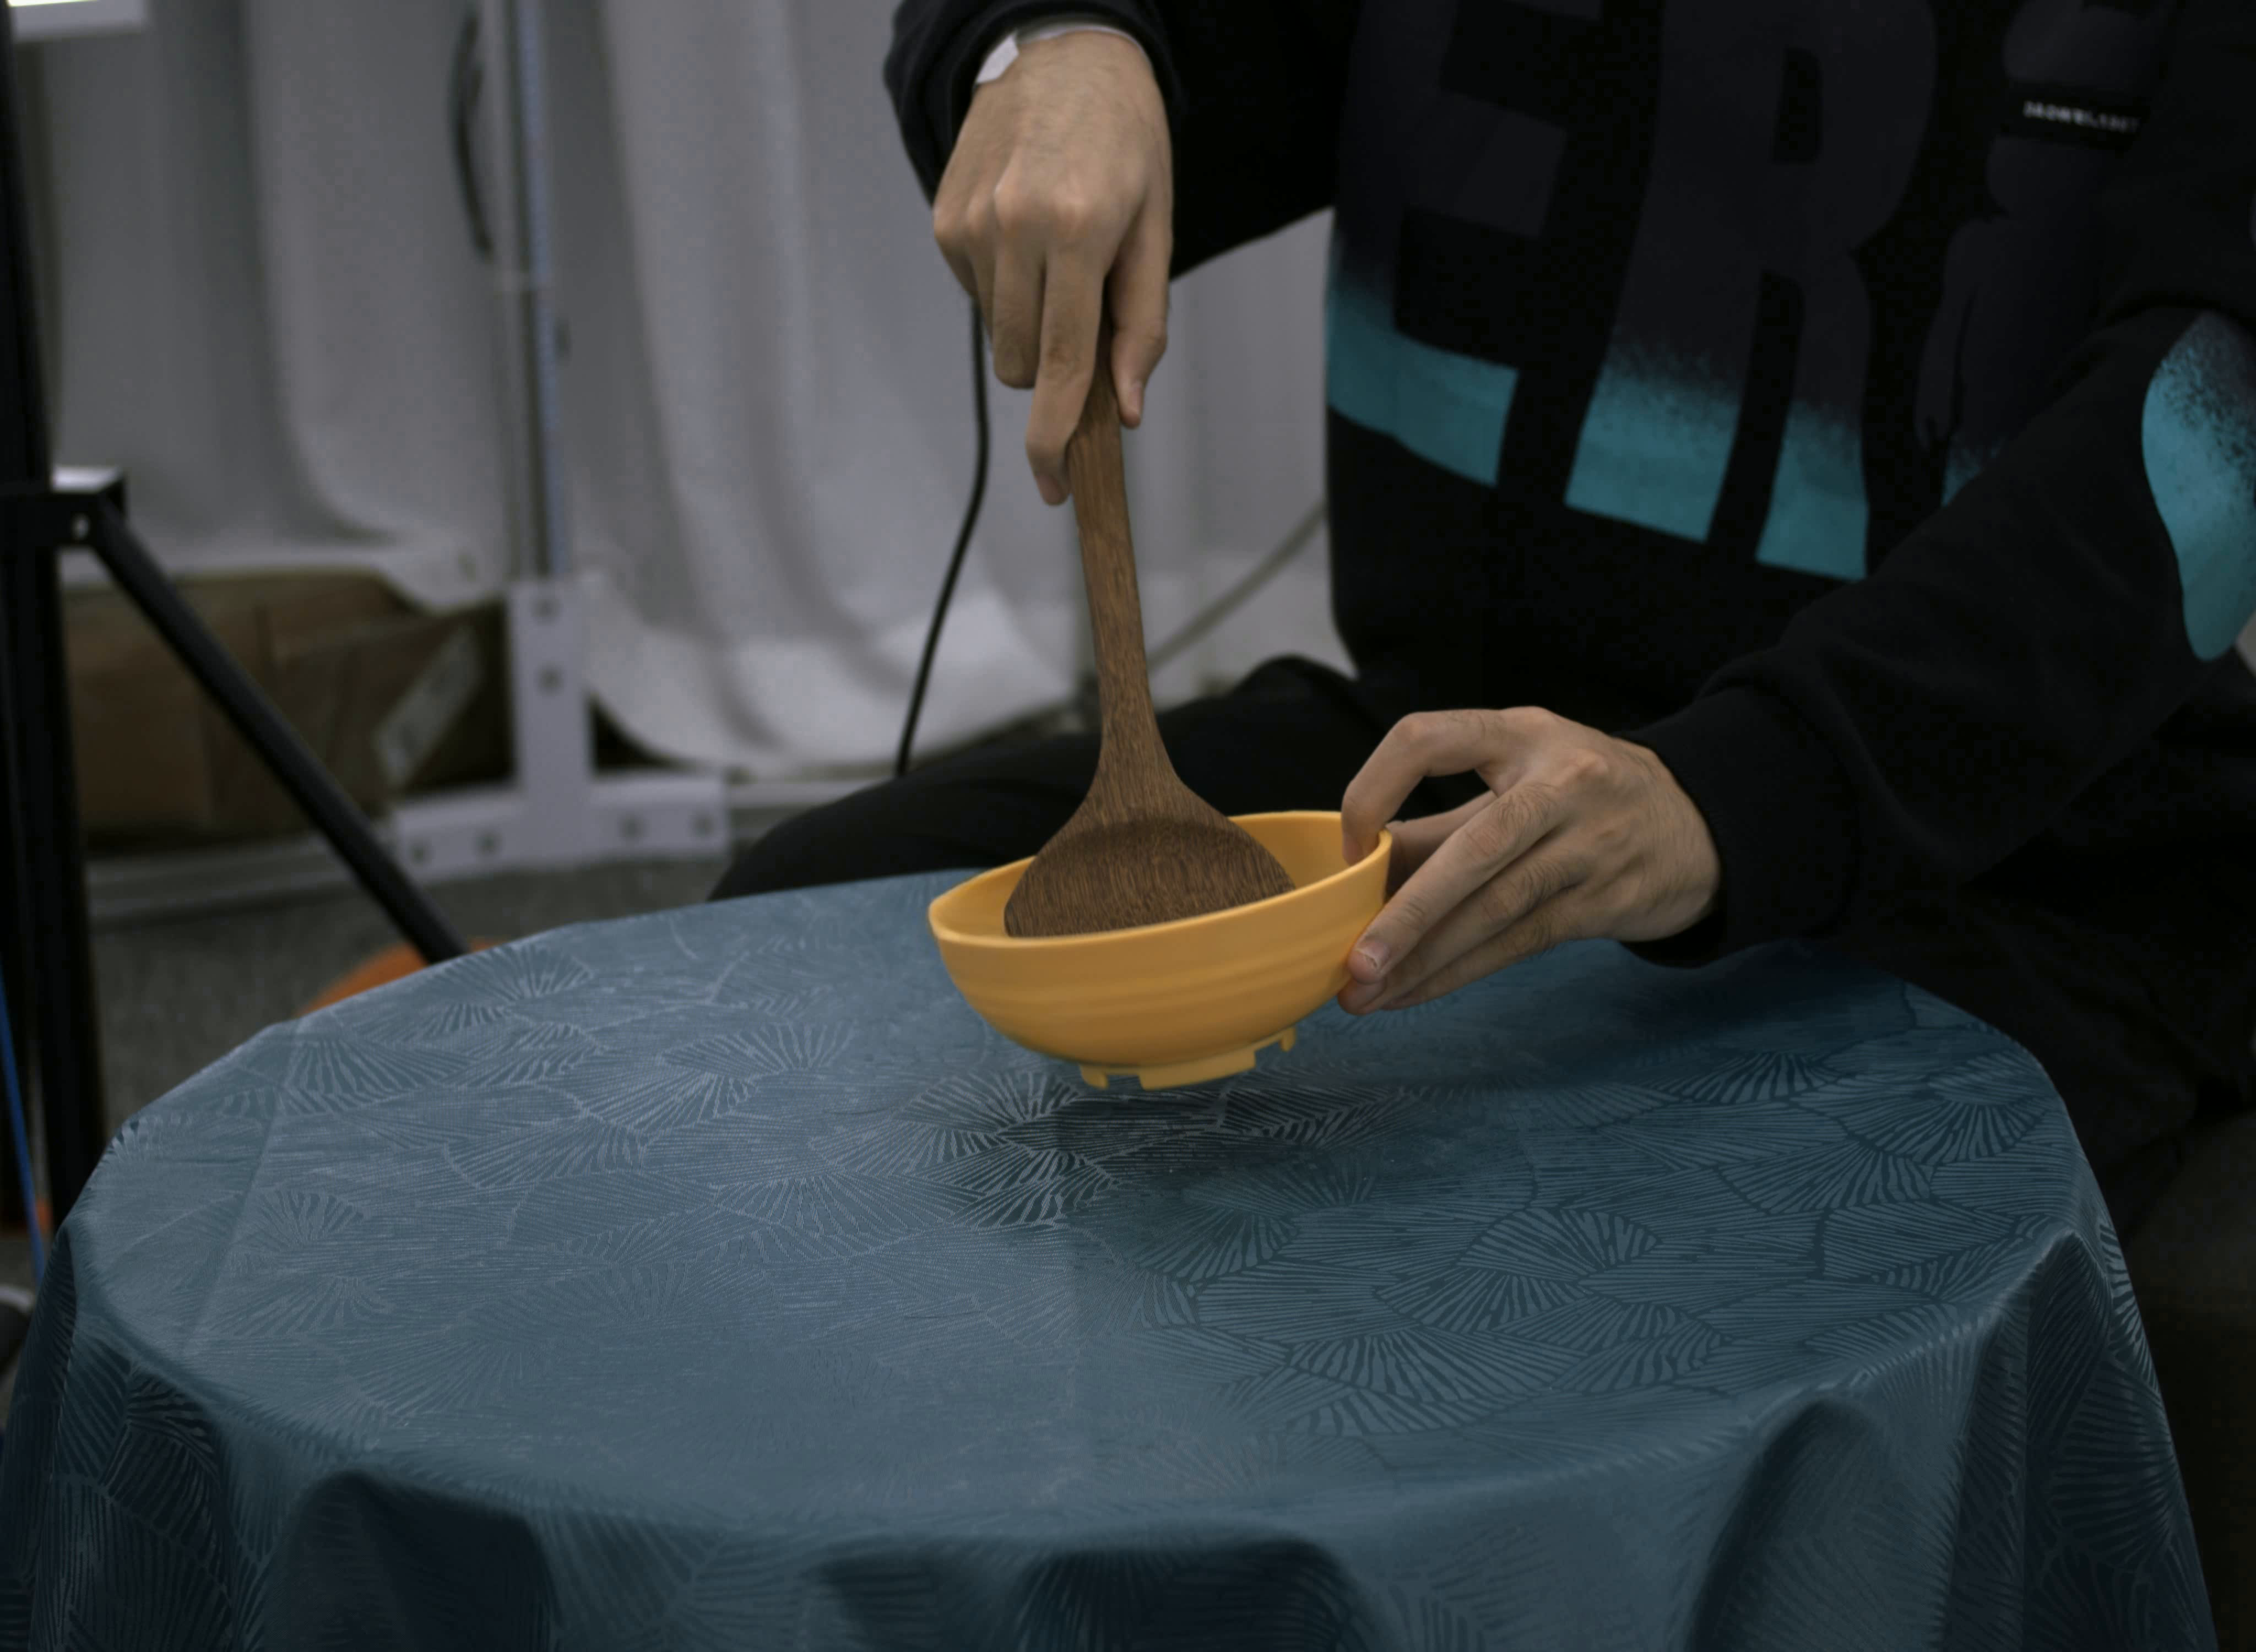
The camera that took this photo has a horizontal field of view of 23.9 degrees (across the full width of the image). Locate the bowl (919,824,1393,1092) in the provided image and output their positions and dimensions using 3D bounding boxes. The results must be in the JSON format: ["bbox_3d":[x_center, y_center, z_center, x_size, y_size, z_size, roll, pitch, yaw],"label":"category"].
[{"bbox_3d":[0.011,0.044,1.610,0.144,0.060,0.146,-7,11,0],"label":"bowl"}]

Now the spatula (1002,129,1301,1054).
[{"bbox_3d":[-0.007,-0.085,1.698,0.095,0.015,0.391,-6,53,-1],"label":"spatula"}]
